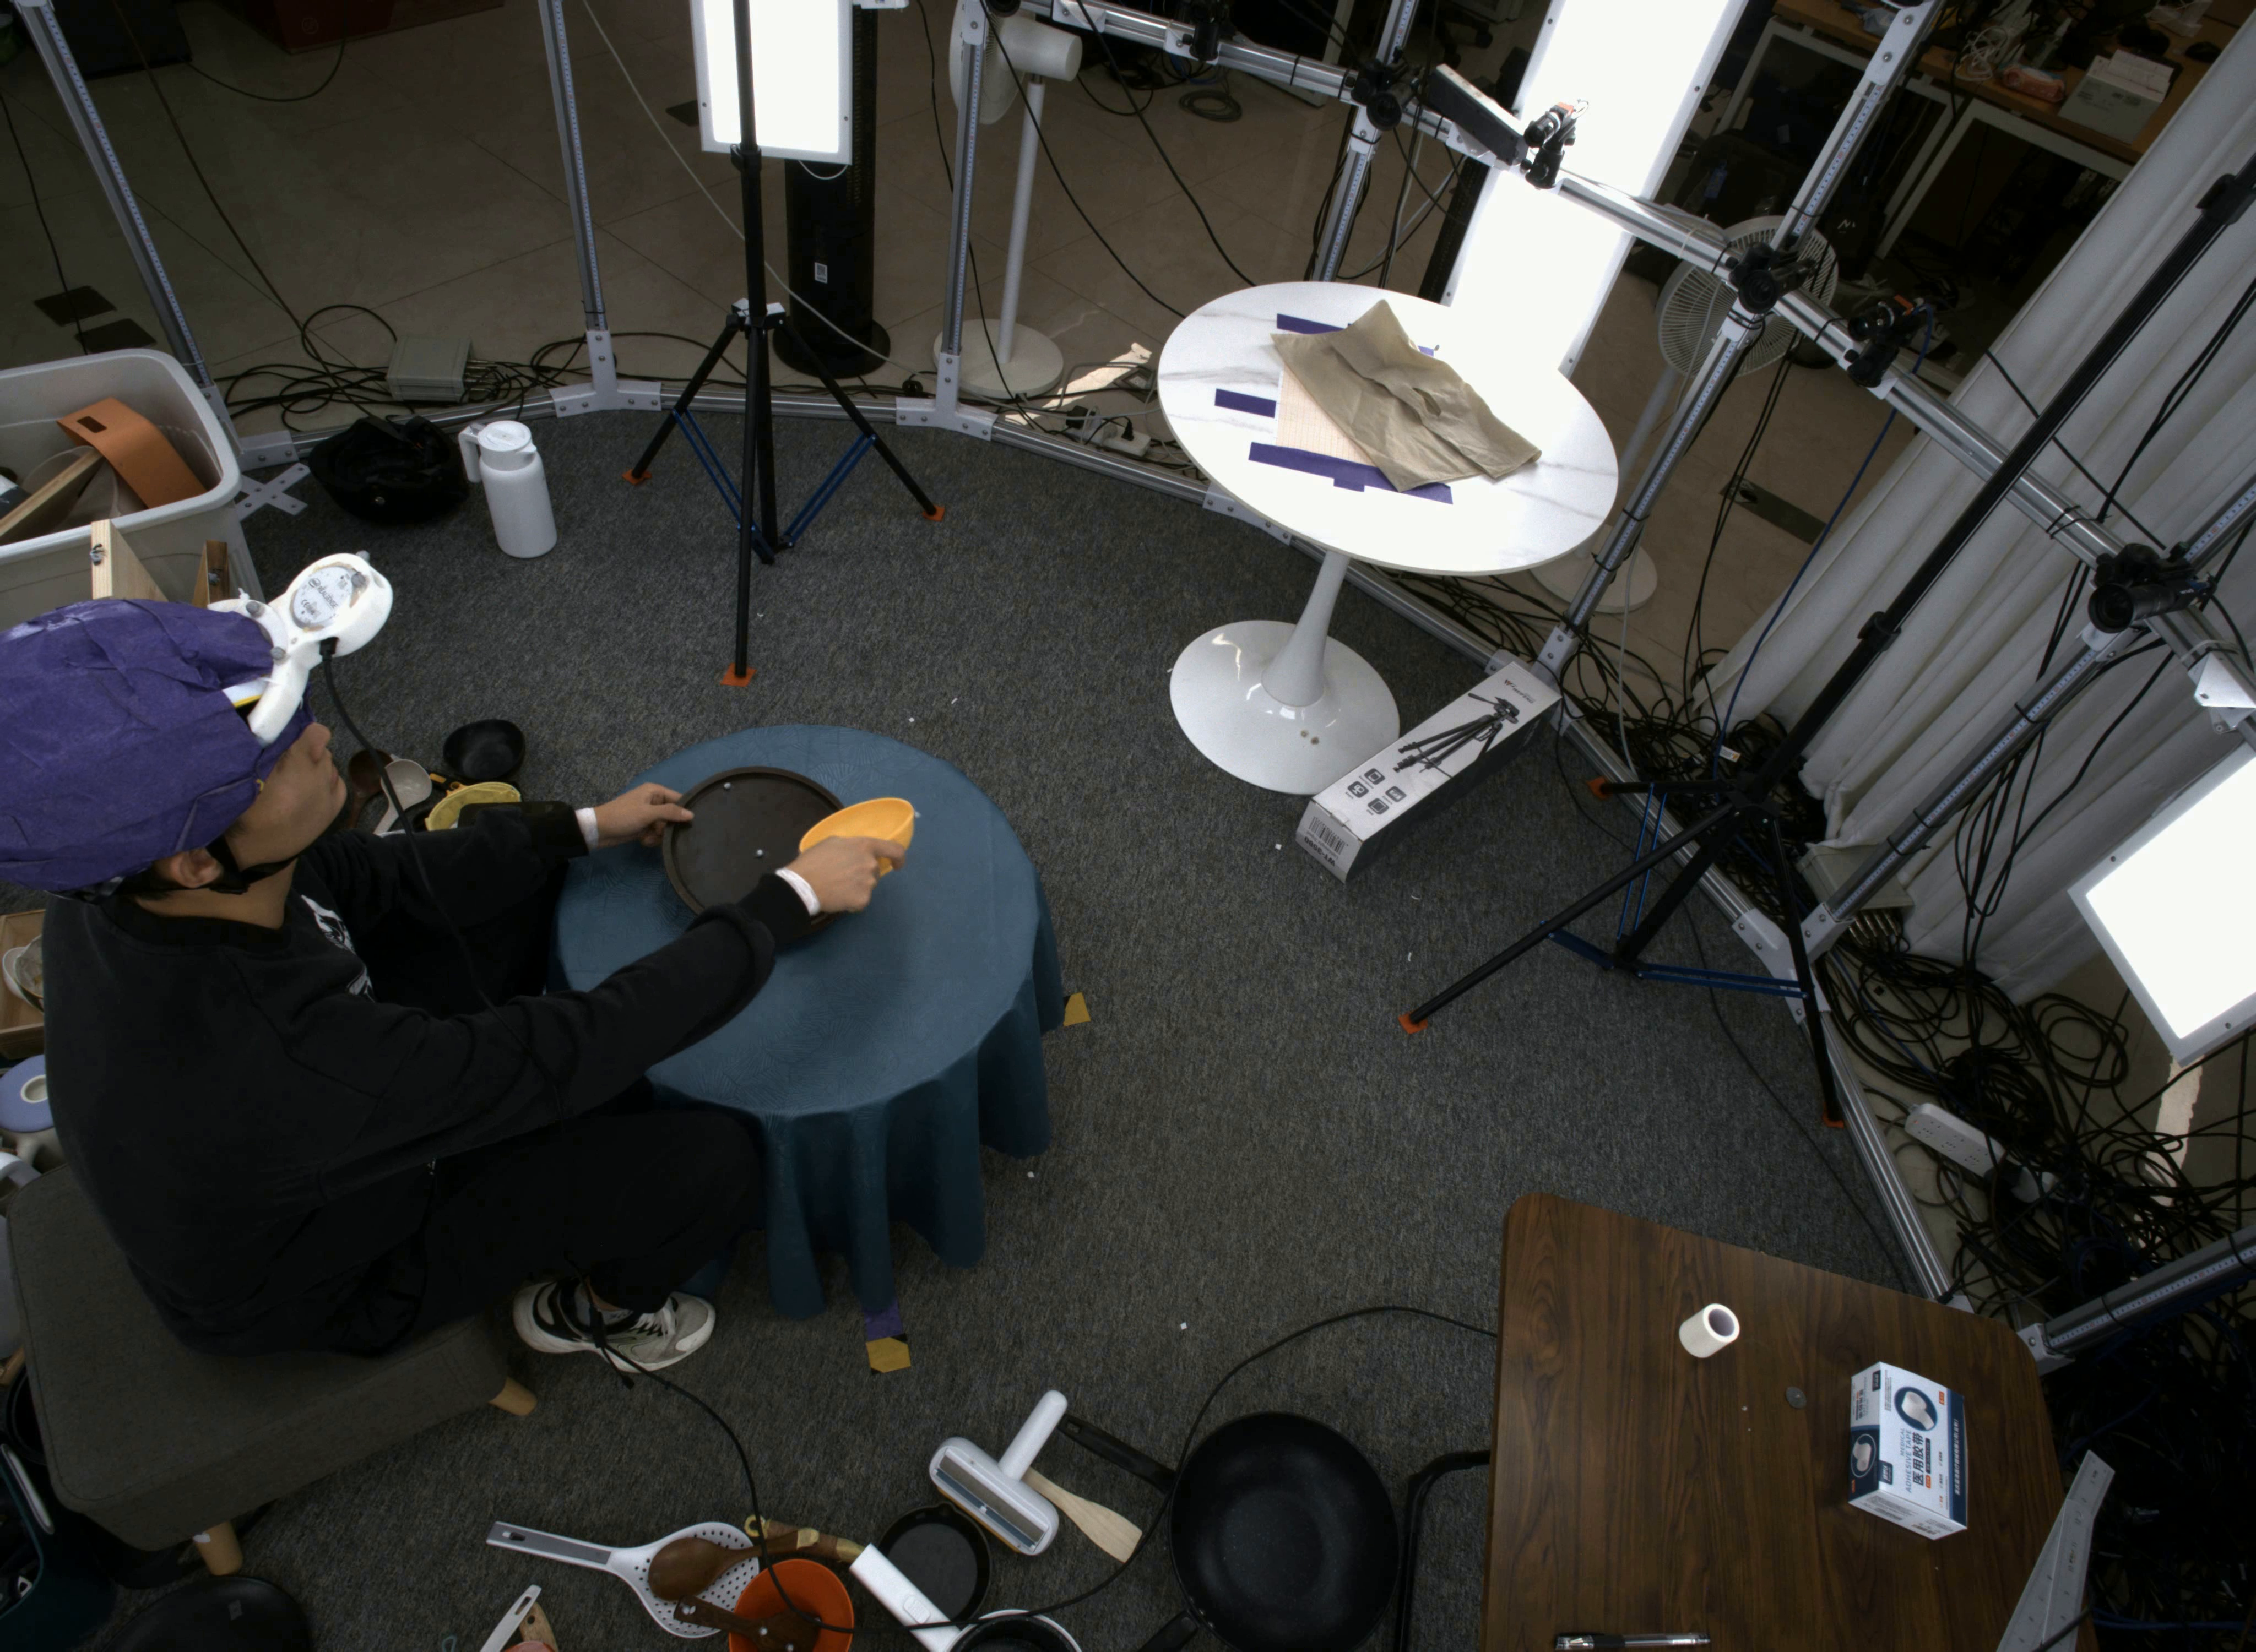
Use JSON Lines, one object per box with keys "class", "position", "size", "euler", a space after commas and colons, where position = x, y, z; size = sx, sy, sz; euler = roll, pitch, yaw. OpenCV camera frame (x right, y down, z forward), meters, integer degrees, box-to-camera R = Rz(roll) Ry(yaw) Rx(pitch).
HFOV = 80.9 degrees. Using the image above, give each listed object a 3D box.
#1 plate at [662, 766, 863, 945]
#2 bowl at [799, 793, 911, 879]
{"class": "plate", "position": [-0.463, 0.035, 1.647], "size": [0.258, 0.029, 0.251], "euler": [14, 58, -21]}
{"class": "bowl", "position": [-0.323, 0.021, 1.582], "size": [0.143, 0.062, 0.142], "euler": [-16, 26, 10]}
